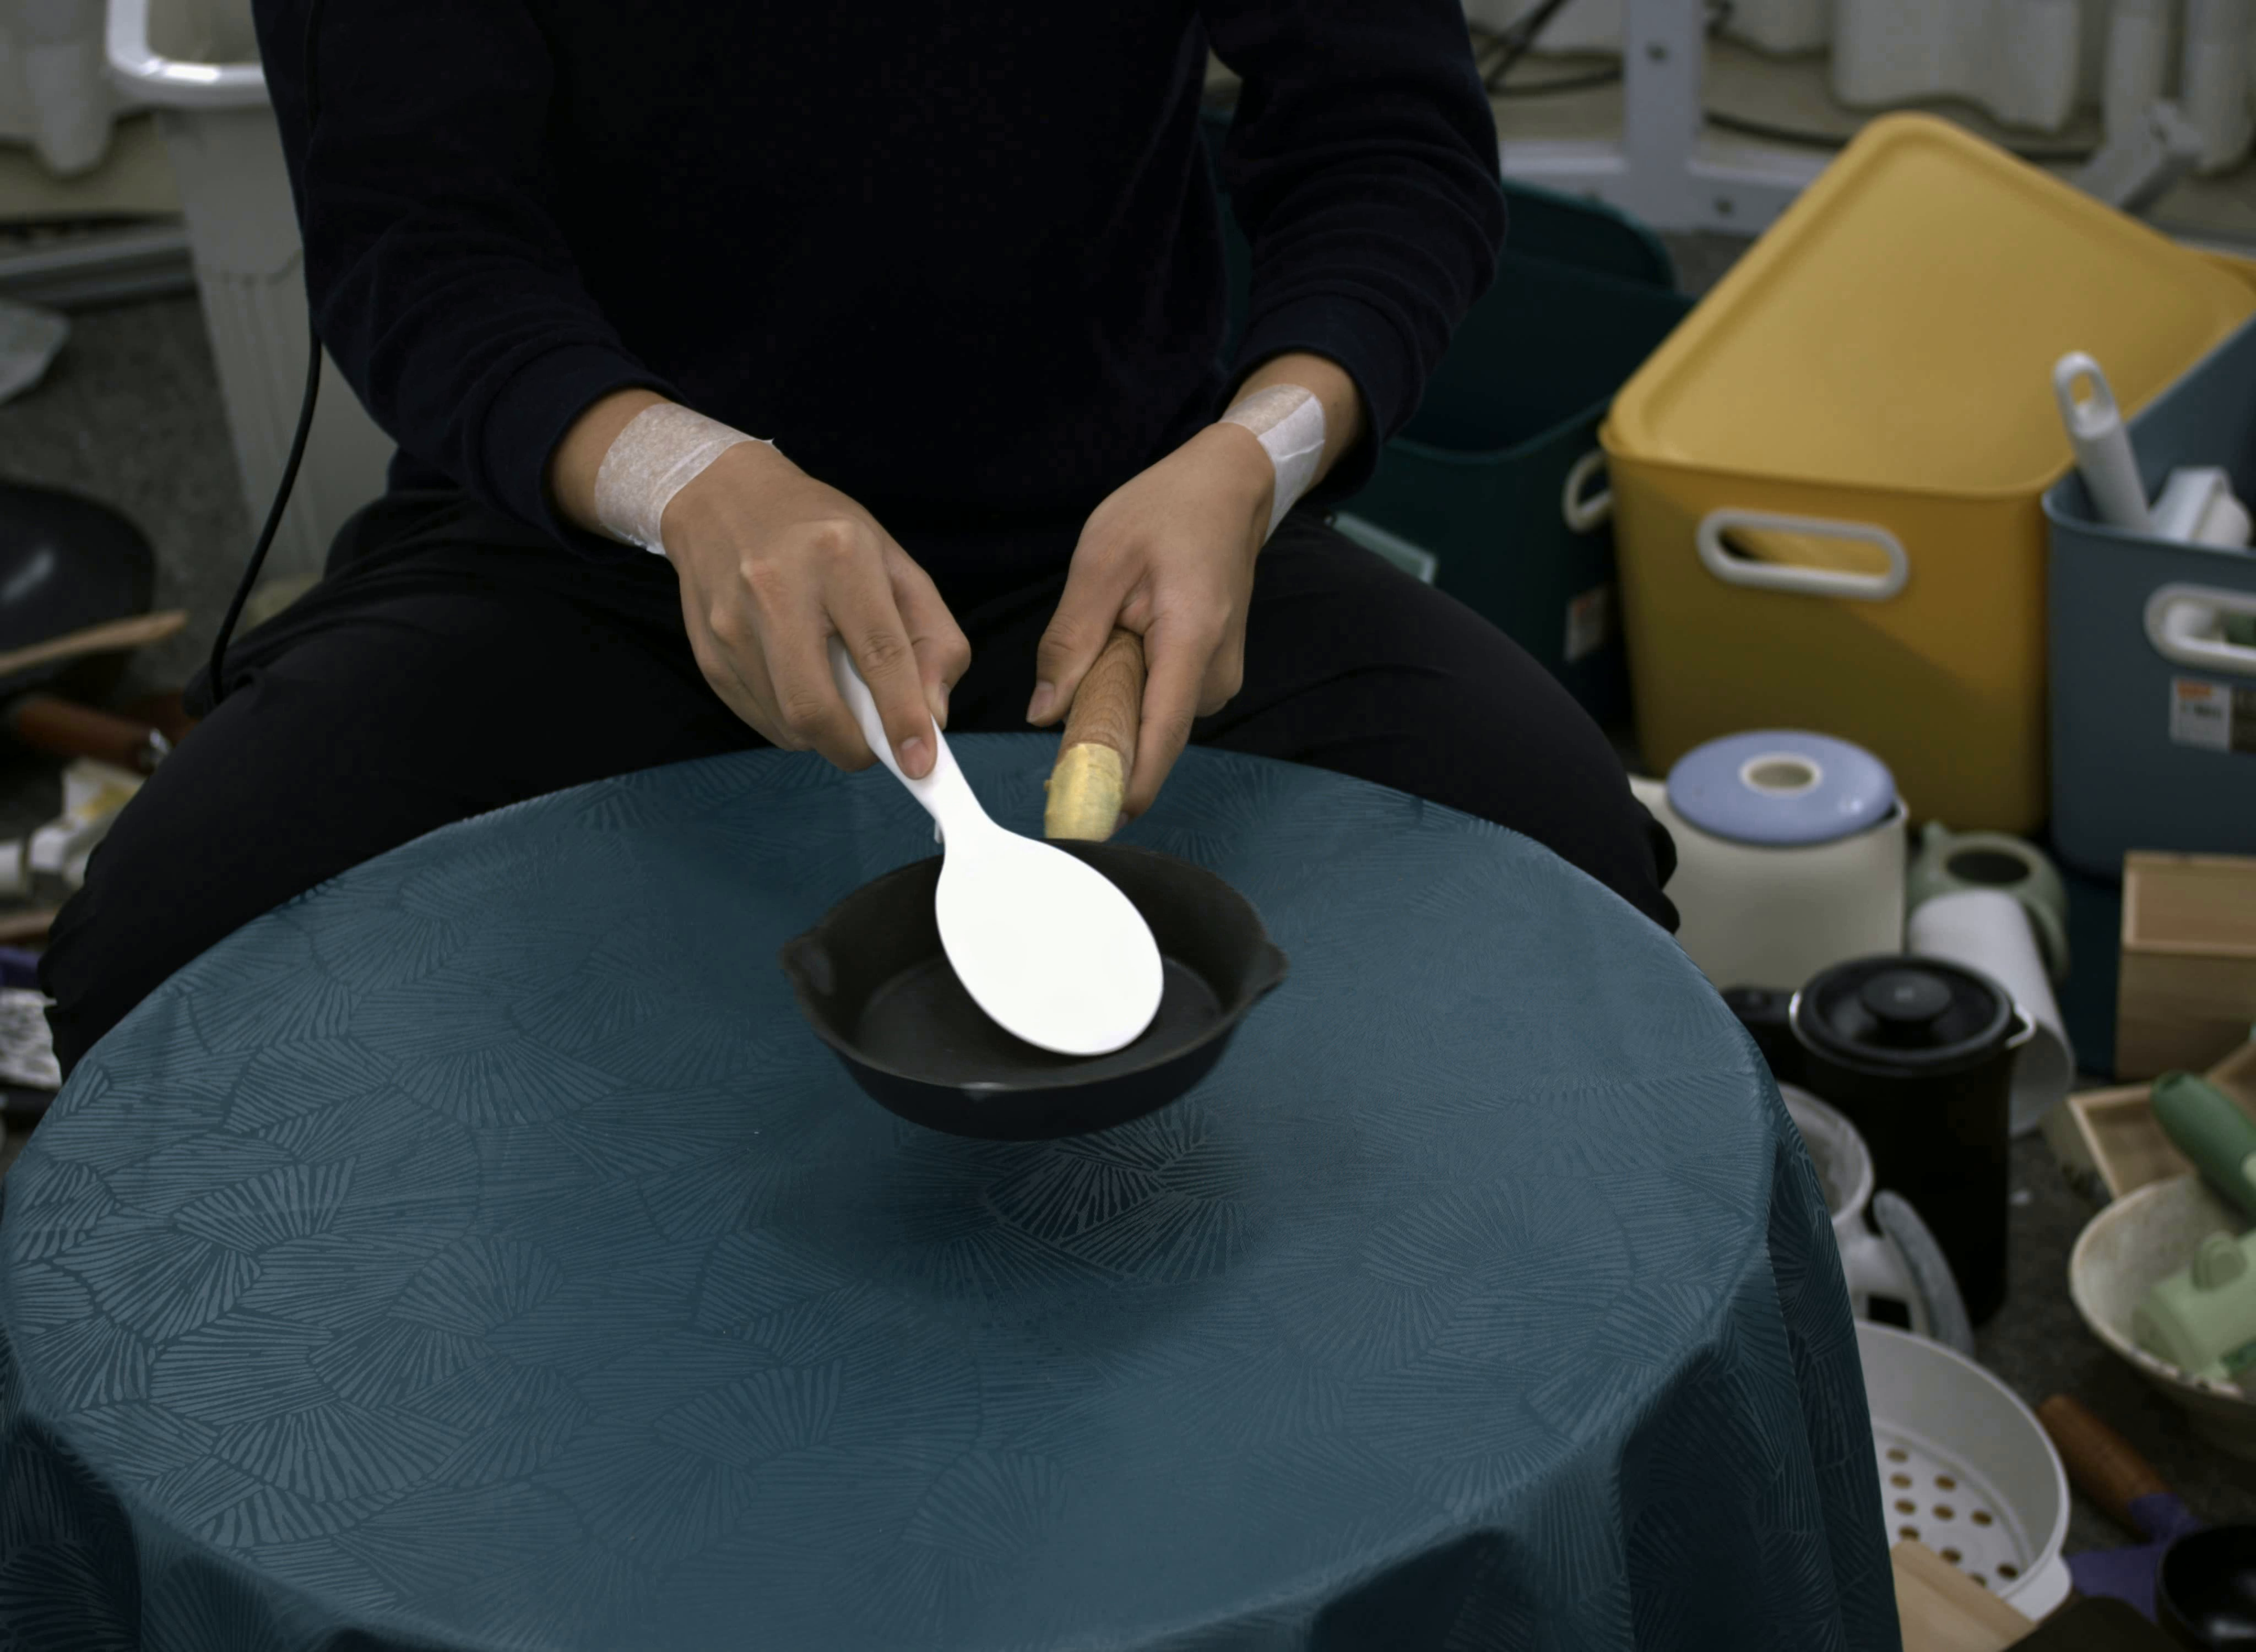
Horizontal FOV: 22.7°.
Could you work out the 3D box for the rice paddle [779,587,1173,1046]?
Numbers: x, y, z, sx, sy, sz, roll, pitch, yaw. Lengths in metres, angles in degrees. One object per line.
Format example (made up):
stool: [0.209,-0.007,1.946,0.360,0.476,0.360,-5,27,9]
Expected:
rice paddle: [-0.053,-0.002,1.897,0.069,0.029,0.207,-22,56,-24]

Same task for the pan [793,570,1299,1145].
pan: [-0.014,0.008,1.918,0.168,0.049,0.330,2,31,9]
